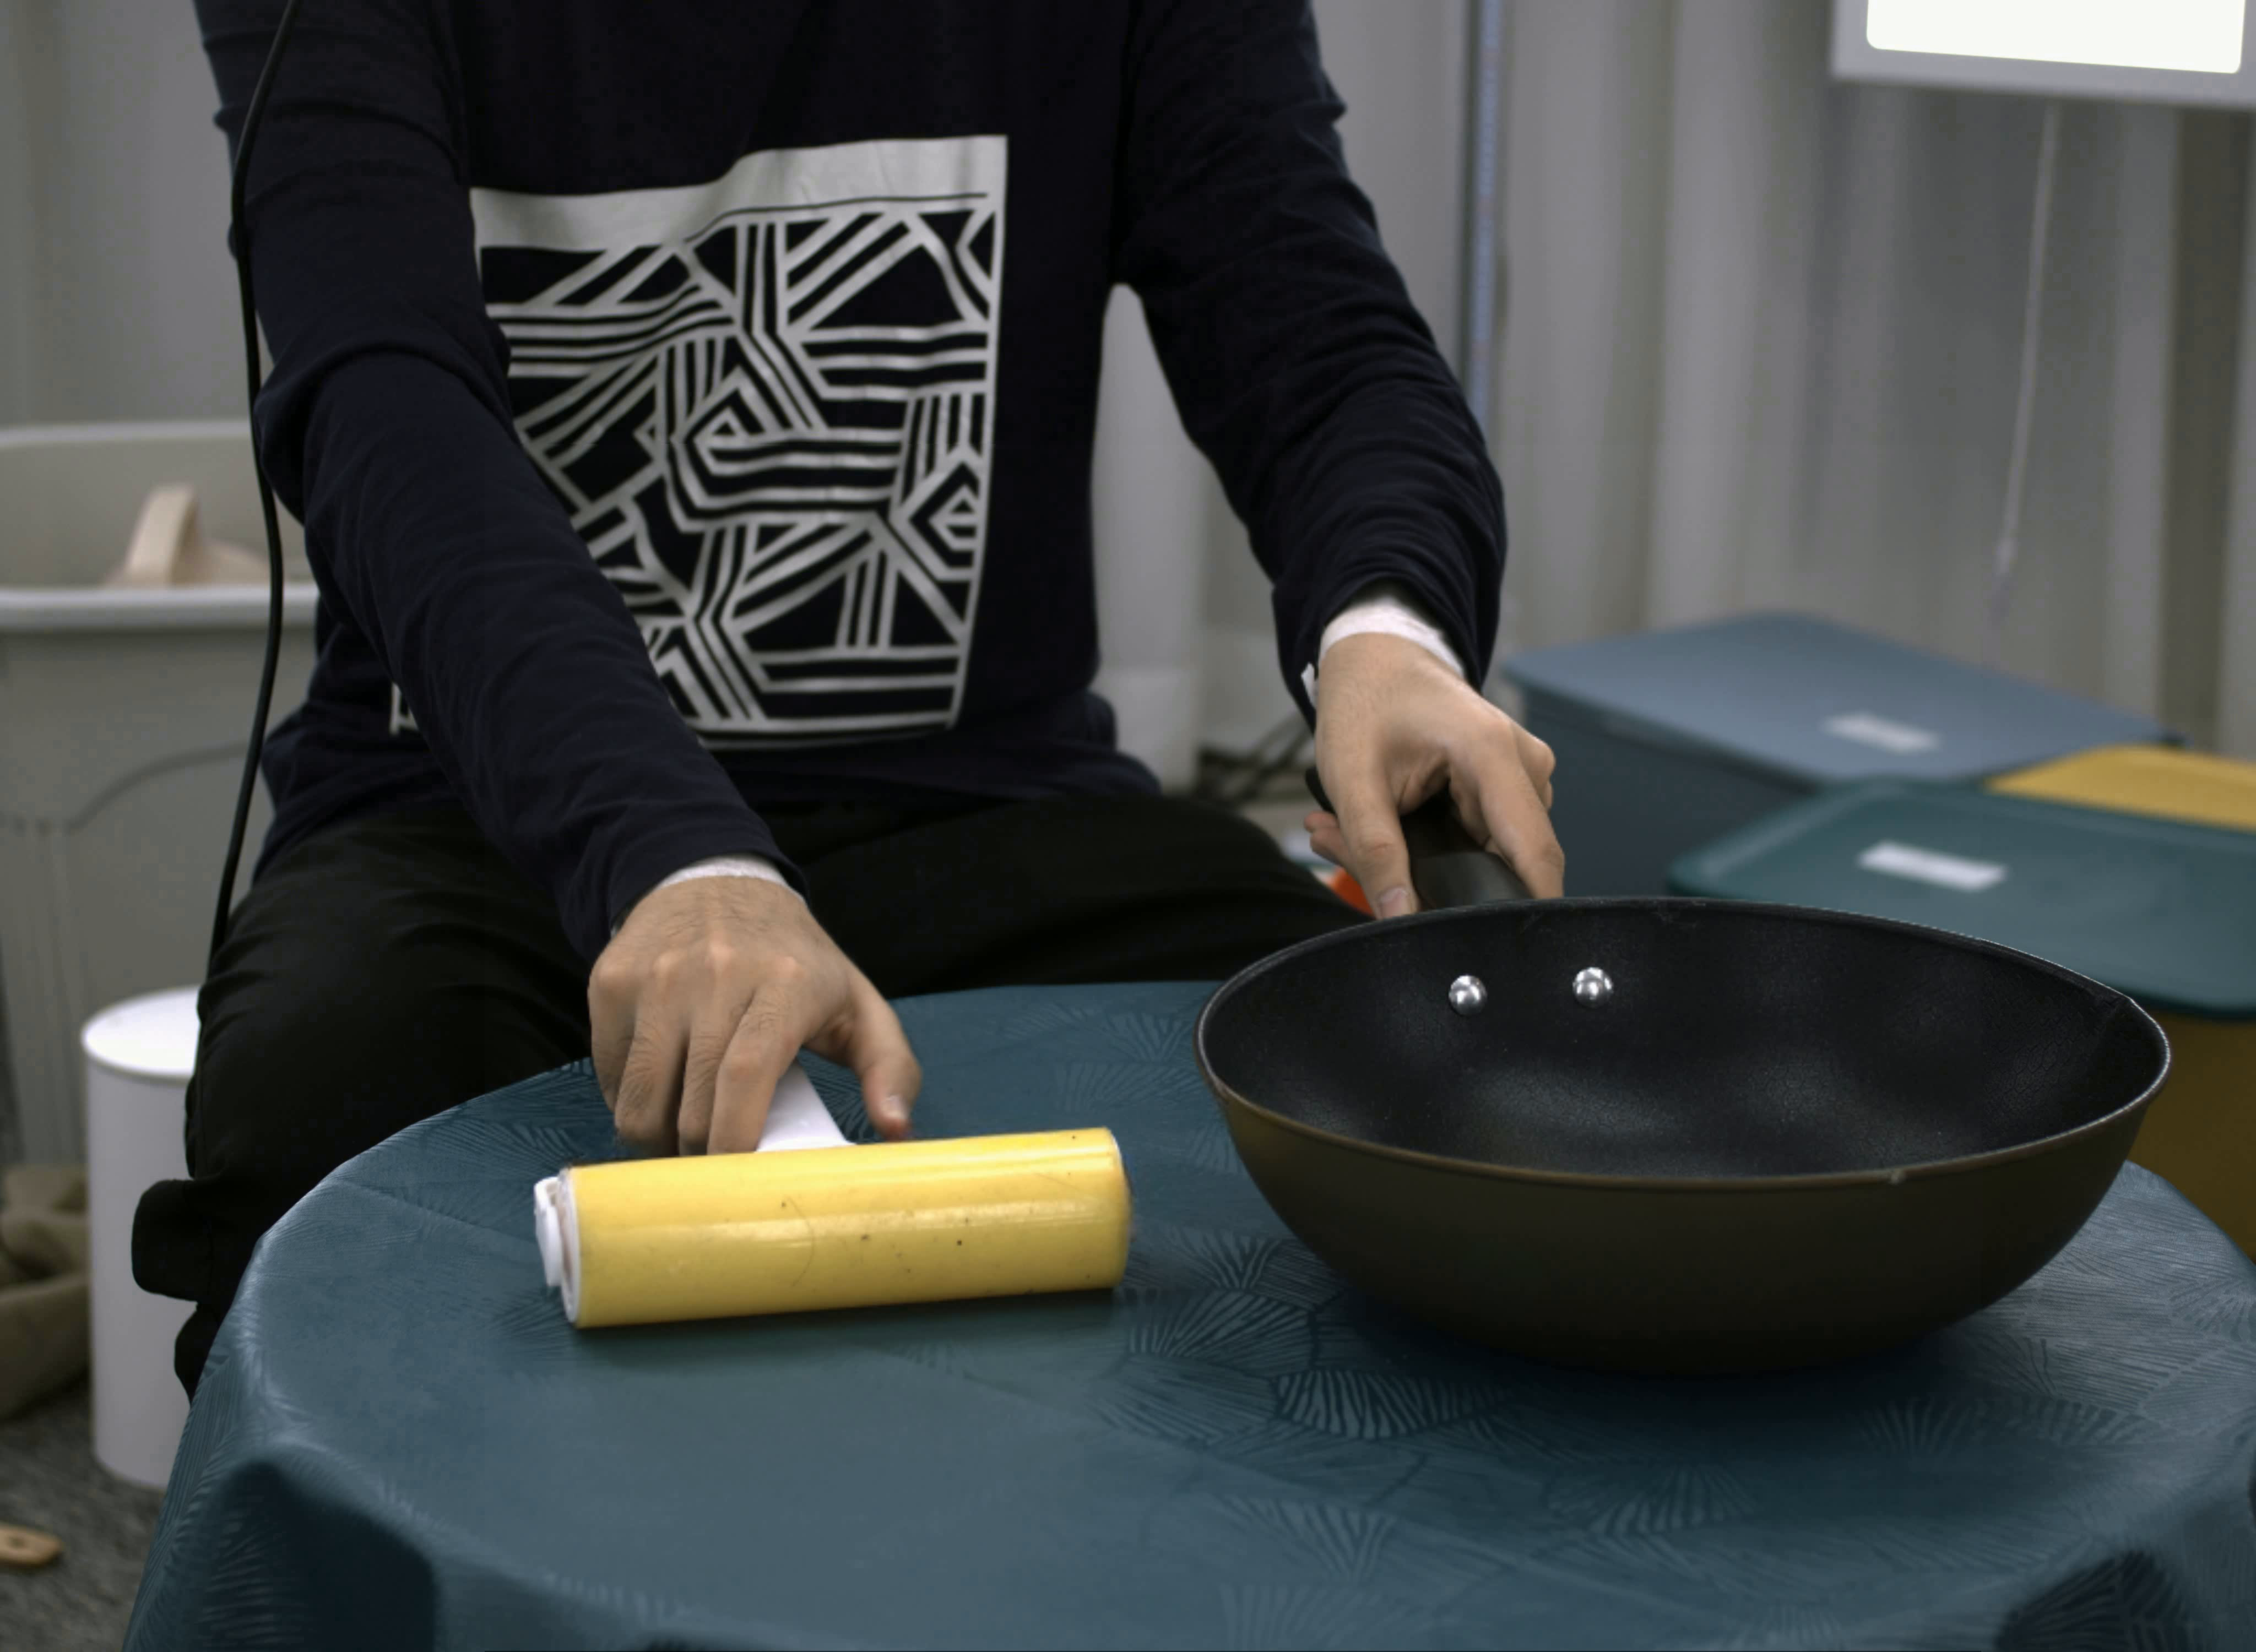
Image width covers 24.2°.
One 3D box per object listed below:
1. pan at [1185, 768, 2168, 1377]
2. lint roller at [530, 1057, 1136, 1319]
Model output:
[{"bbox_3d":[0.132,0.073,1.617,0.288,0.087,0.458,-3,15,-16],"label":"pan"},{"bbox_3d":[-0.102,0.091,1.583,0.174,0.052,0.190,-3,21,-15],"label":"lint roller"}]
